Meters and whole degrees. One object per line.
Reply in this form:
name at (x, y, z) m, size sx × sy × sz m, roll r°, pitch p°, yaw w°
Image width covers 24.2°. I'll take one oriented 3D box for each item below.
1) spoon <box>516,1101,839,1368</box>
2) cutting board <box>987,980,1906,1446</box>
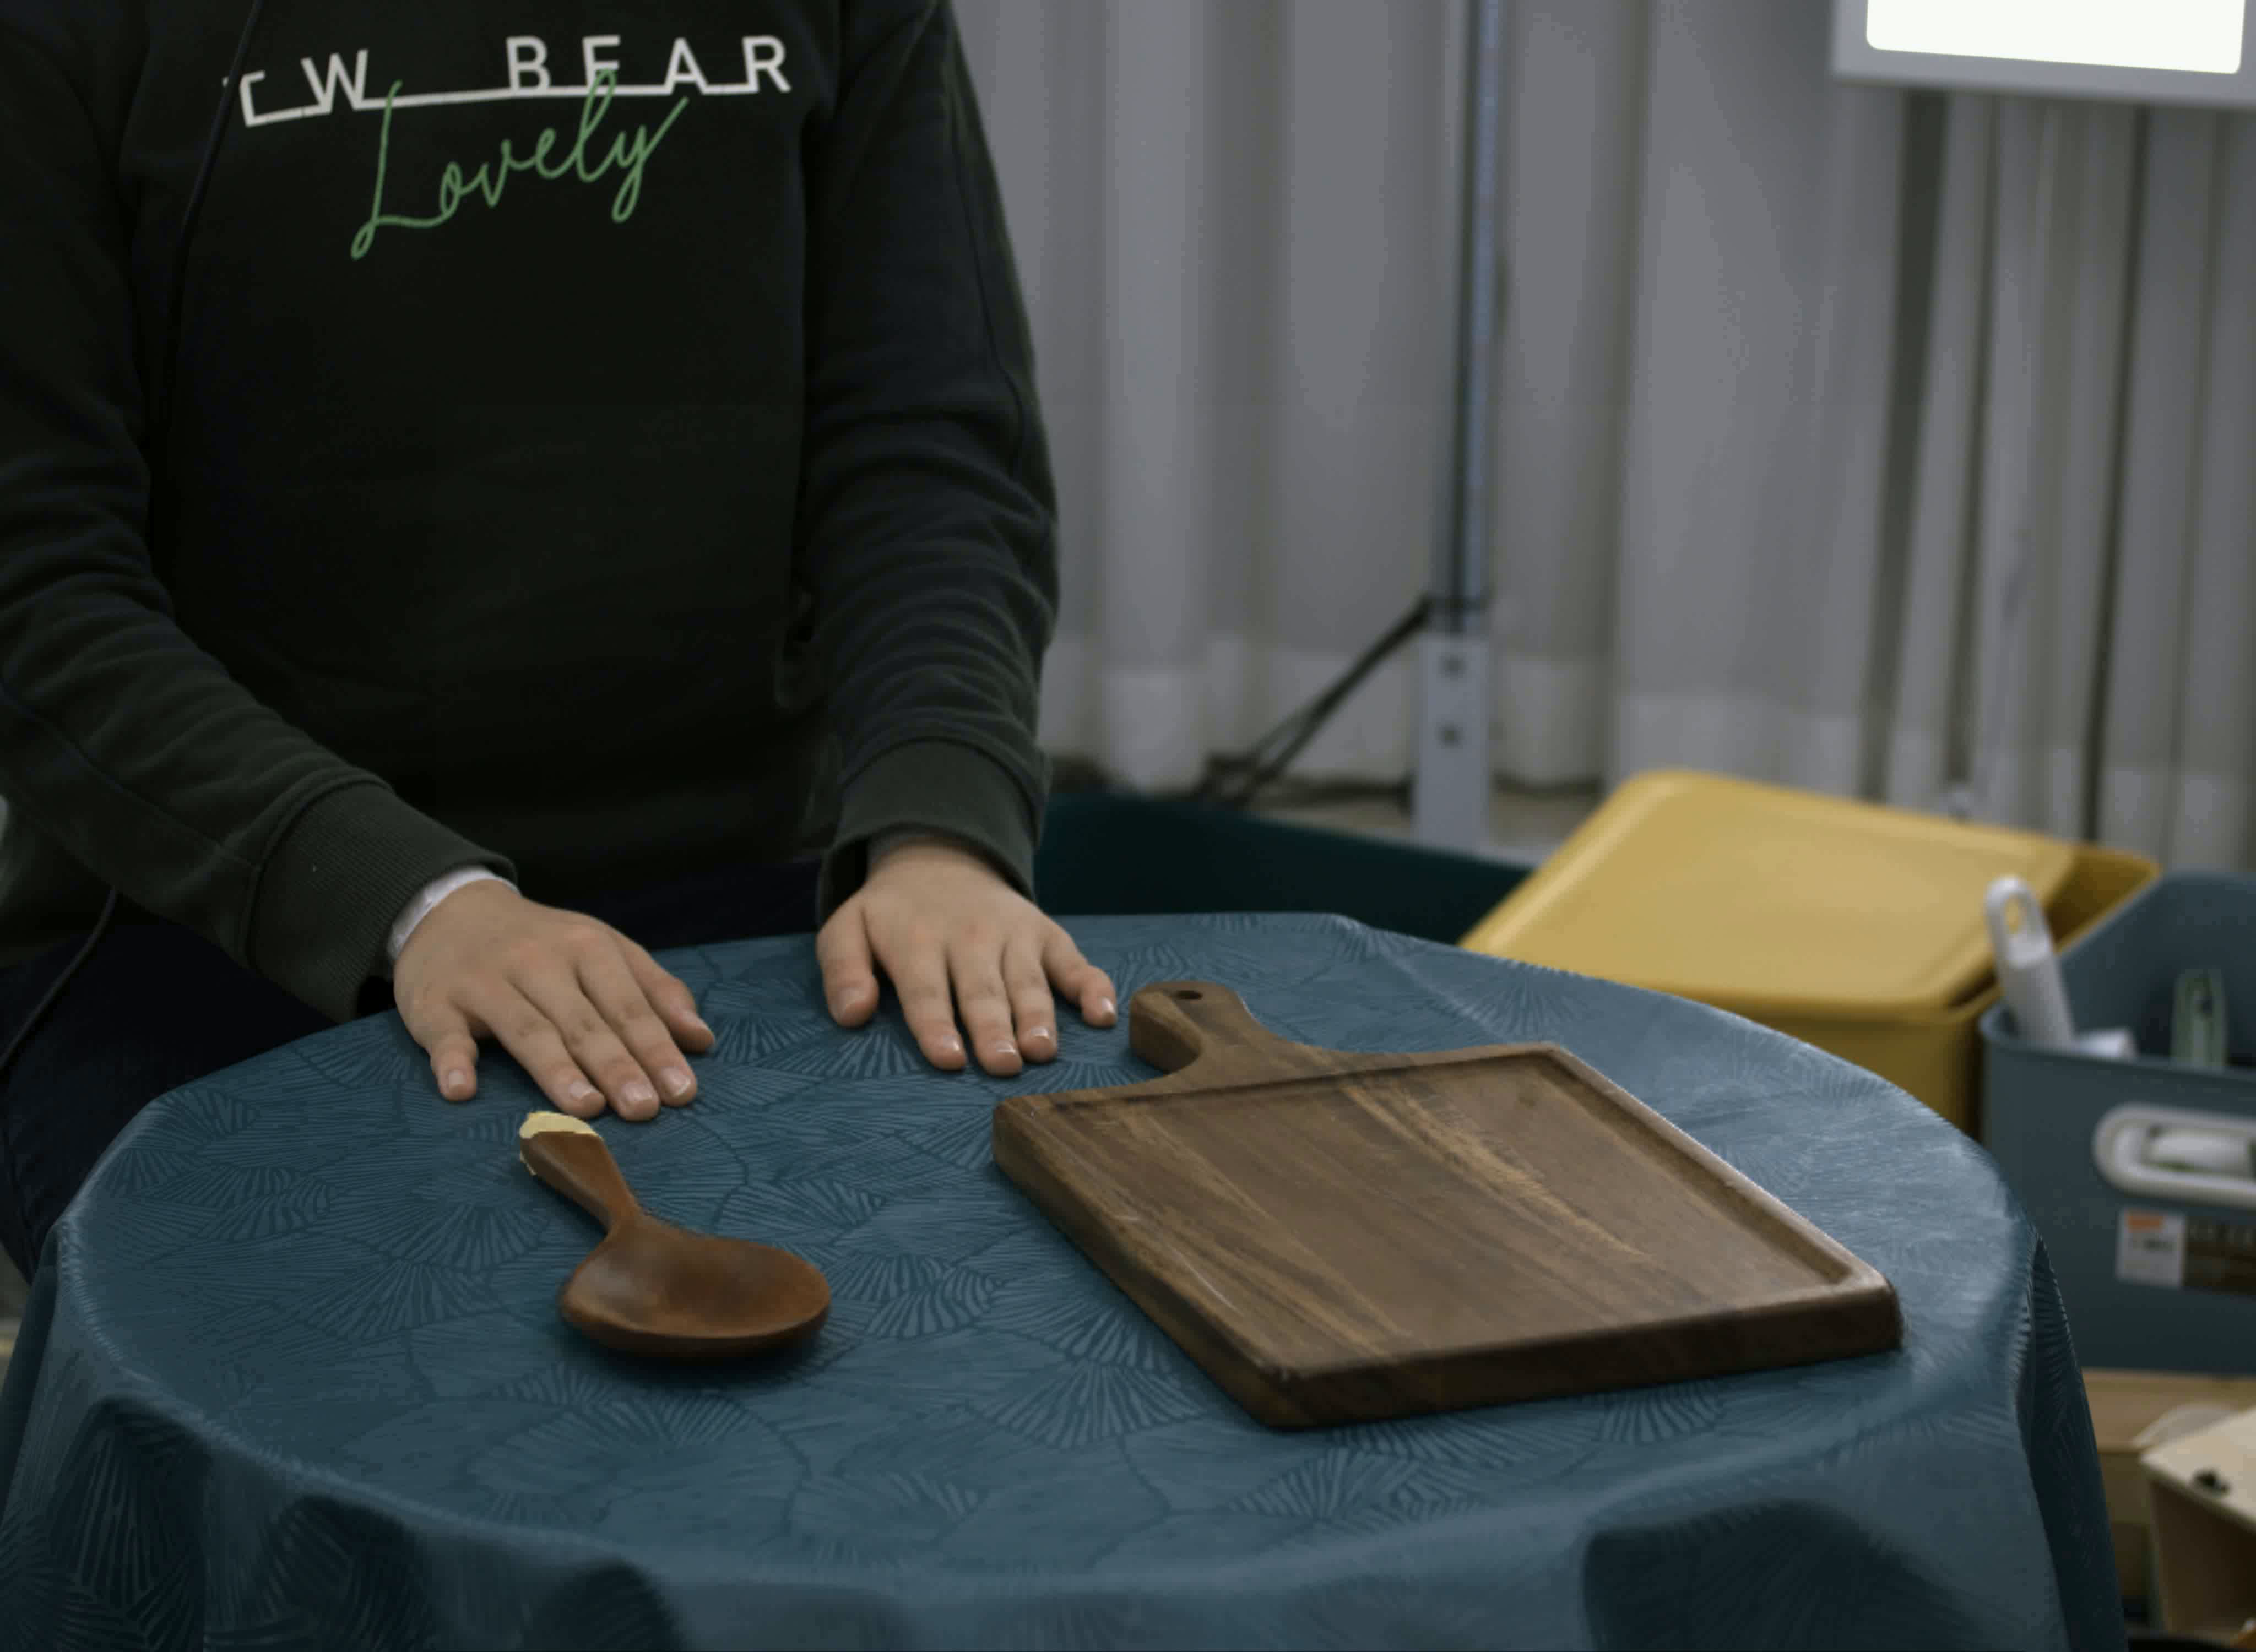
spoon at (-0.143, 0.121, 1.557) m, size 0.075 × 0.017 × 0.213 m, roll -7°, pitch 18°, yaw -20°
cutting board at (0.072, 0.106, 1.619) m, size 0.201 × 0.023 × 0.348 m, roll -6°, pitch 17°, yaw -19°
